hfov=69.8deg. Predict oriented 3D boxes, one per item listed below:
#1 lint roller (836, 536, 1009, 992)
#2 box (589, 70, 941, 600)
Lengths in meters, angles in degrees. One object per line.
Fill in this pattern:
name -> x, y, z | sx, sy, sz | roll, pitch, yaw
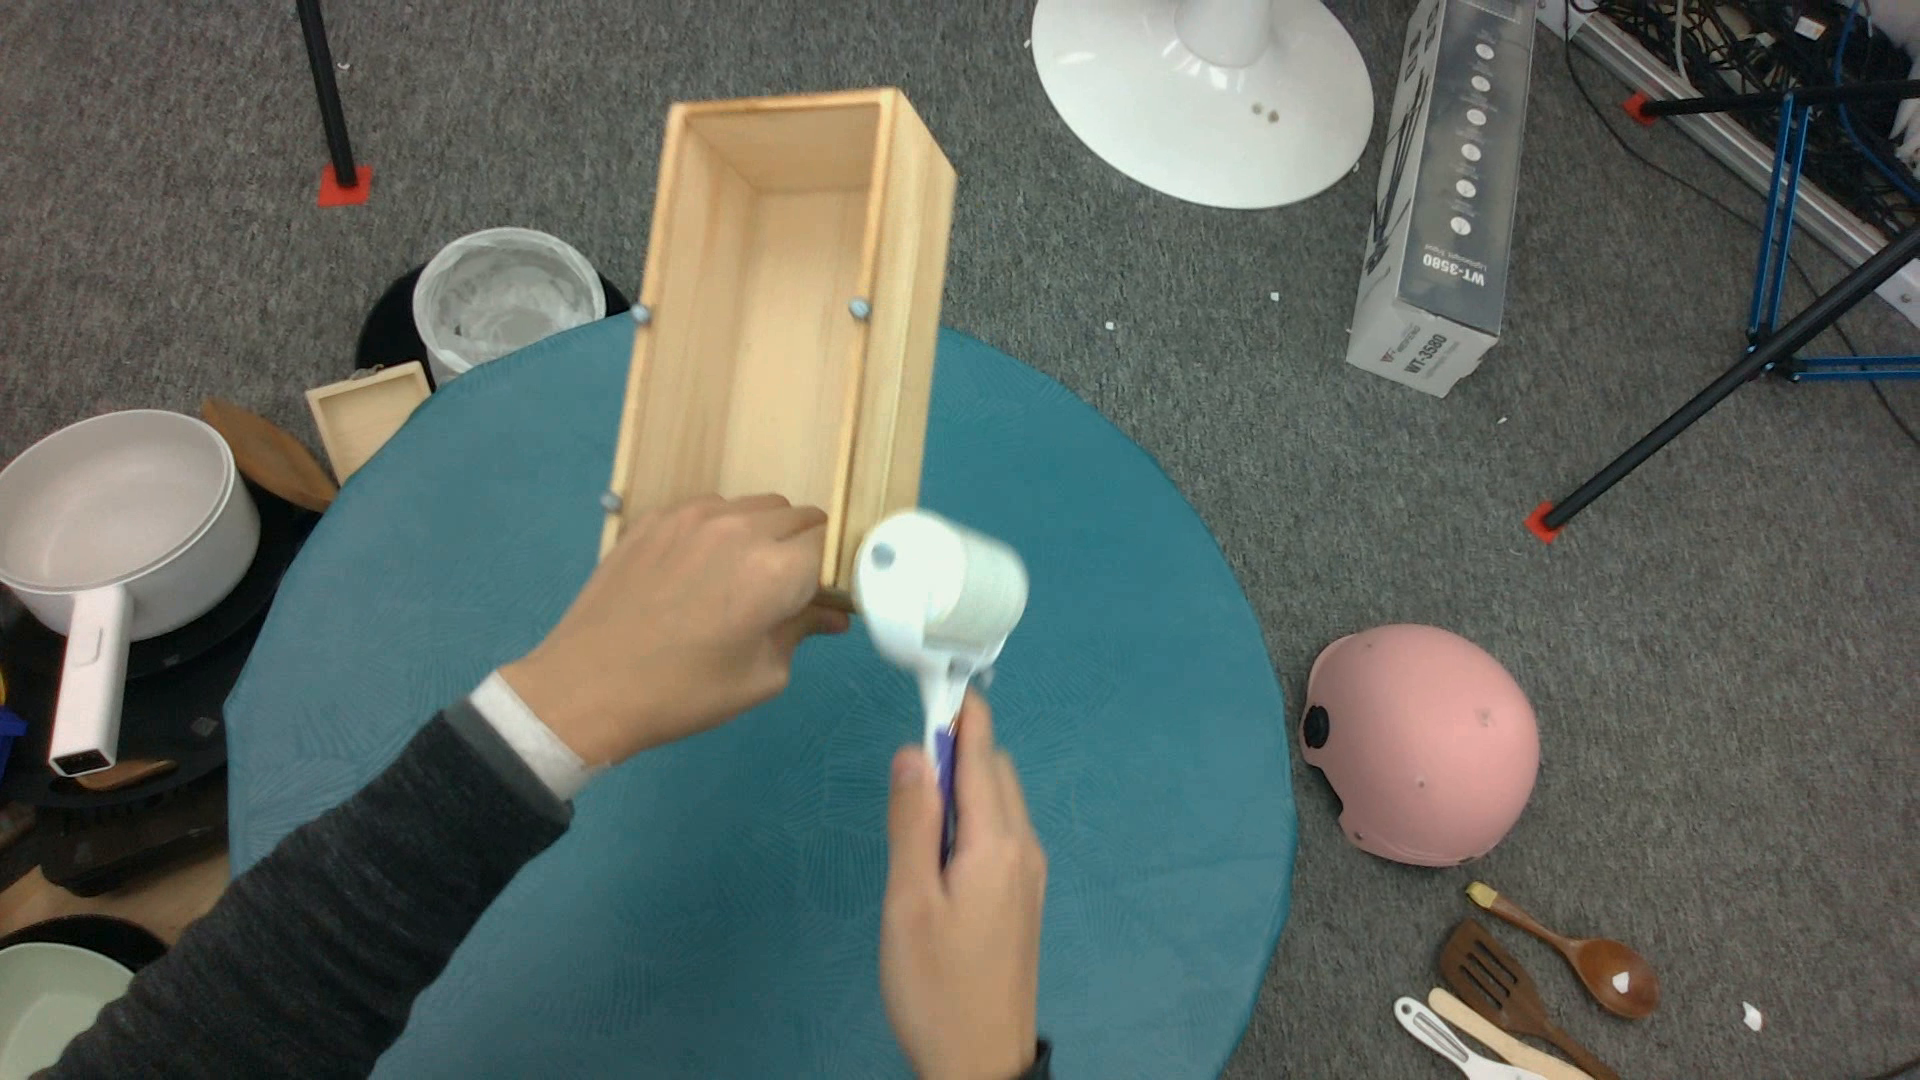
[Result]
lint roller -> -0.004, 0.091, 0.565 | 0.050, 0.133, 0.181 | -12, 78, 13
box -> -0.079, -0.085, 0.597 | 0.107, 0.080, 0.212 | 3, 80, 16
